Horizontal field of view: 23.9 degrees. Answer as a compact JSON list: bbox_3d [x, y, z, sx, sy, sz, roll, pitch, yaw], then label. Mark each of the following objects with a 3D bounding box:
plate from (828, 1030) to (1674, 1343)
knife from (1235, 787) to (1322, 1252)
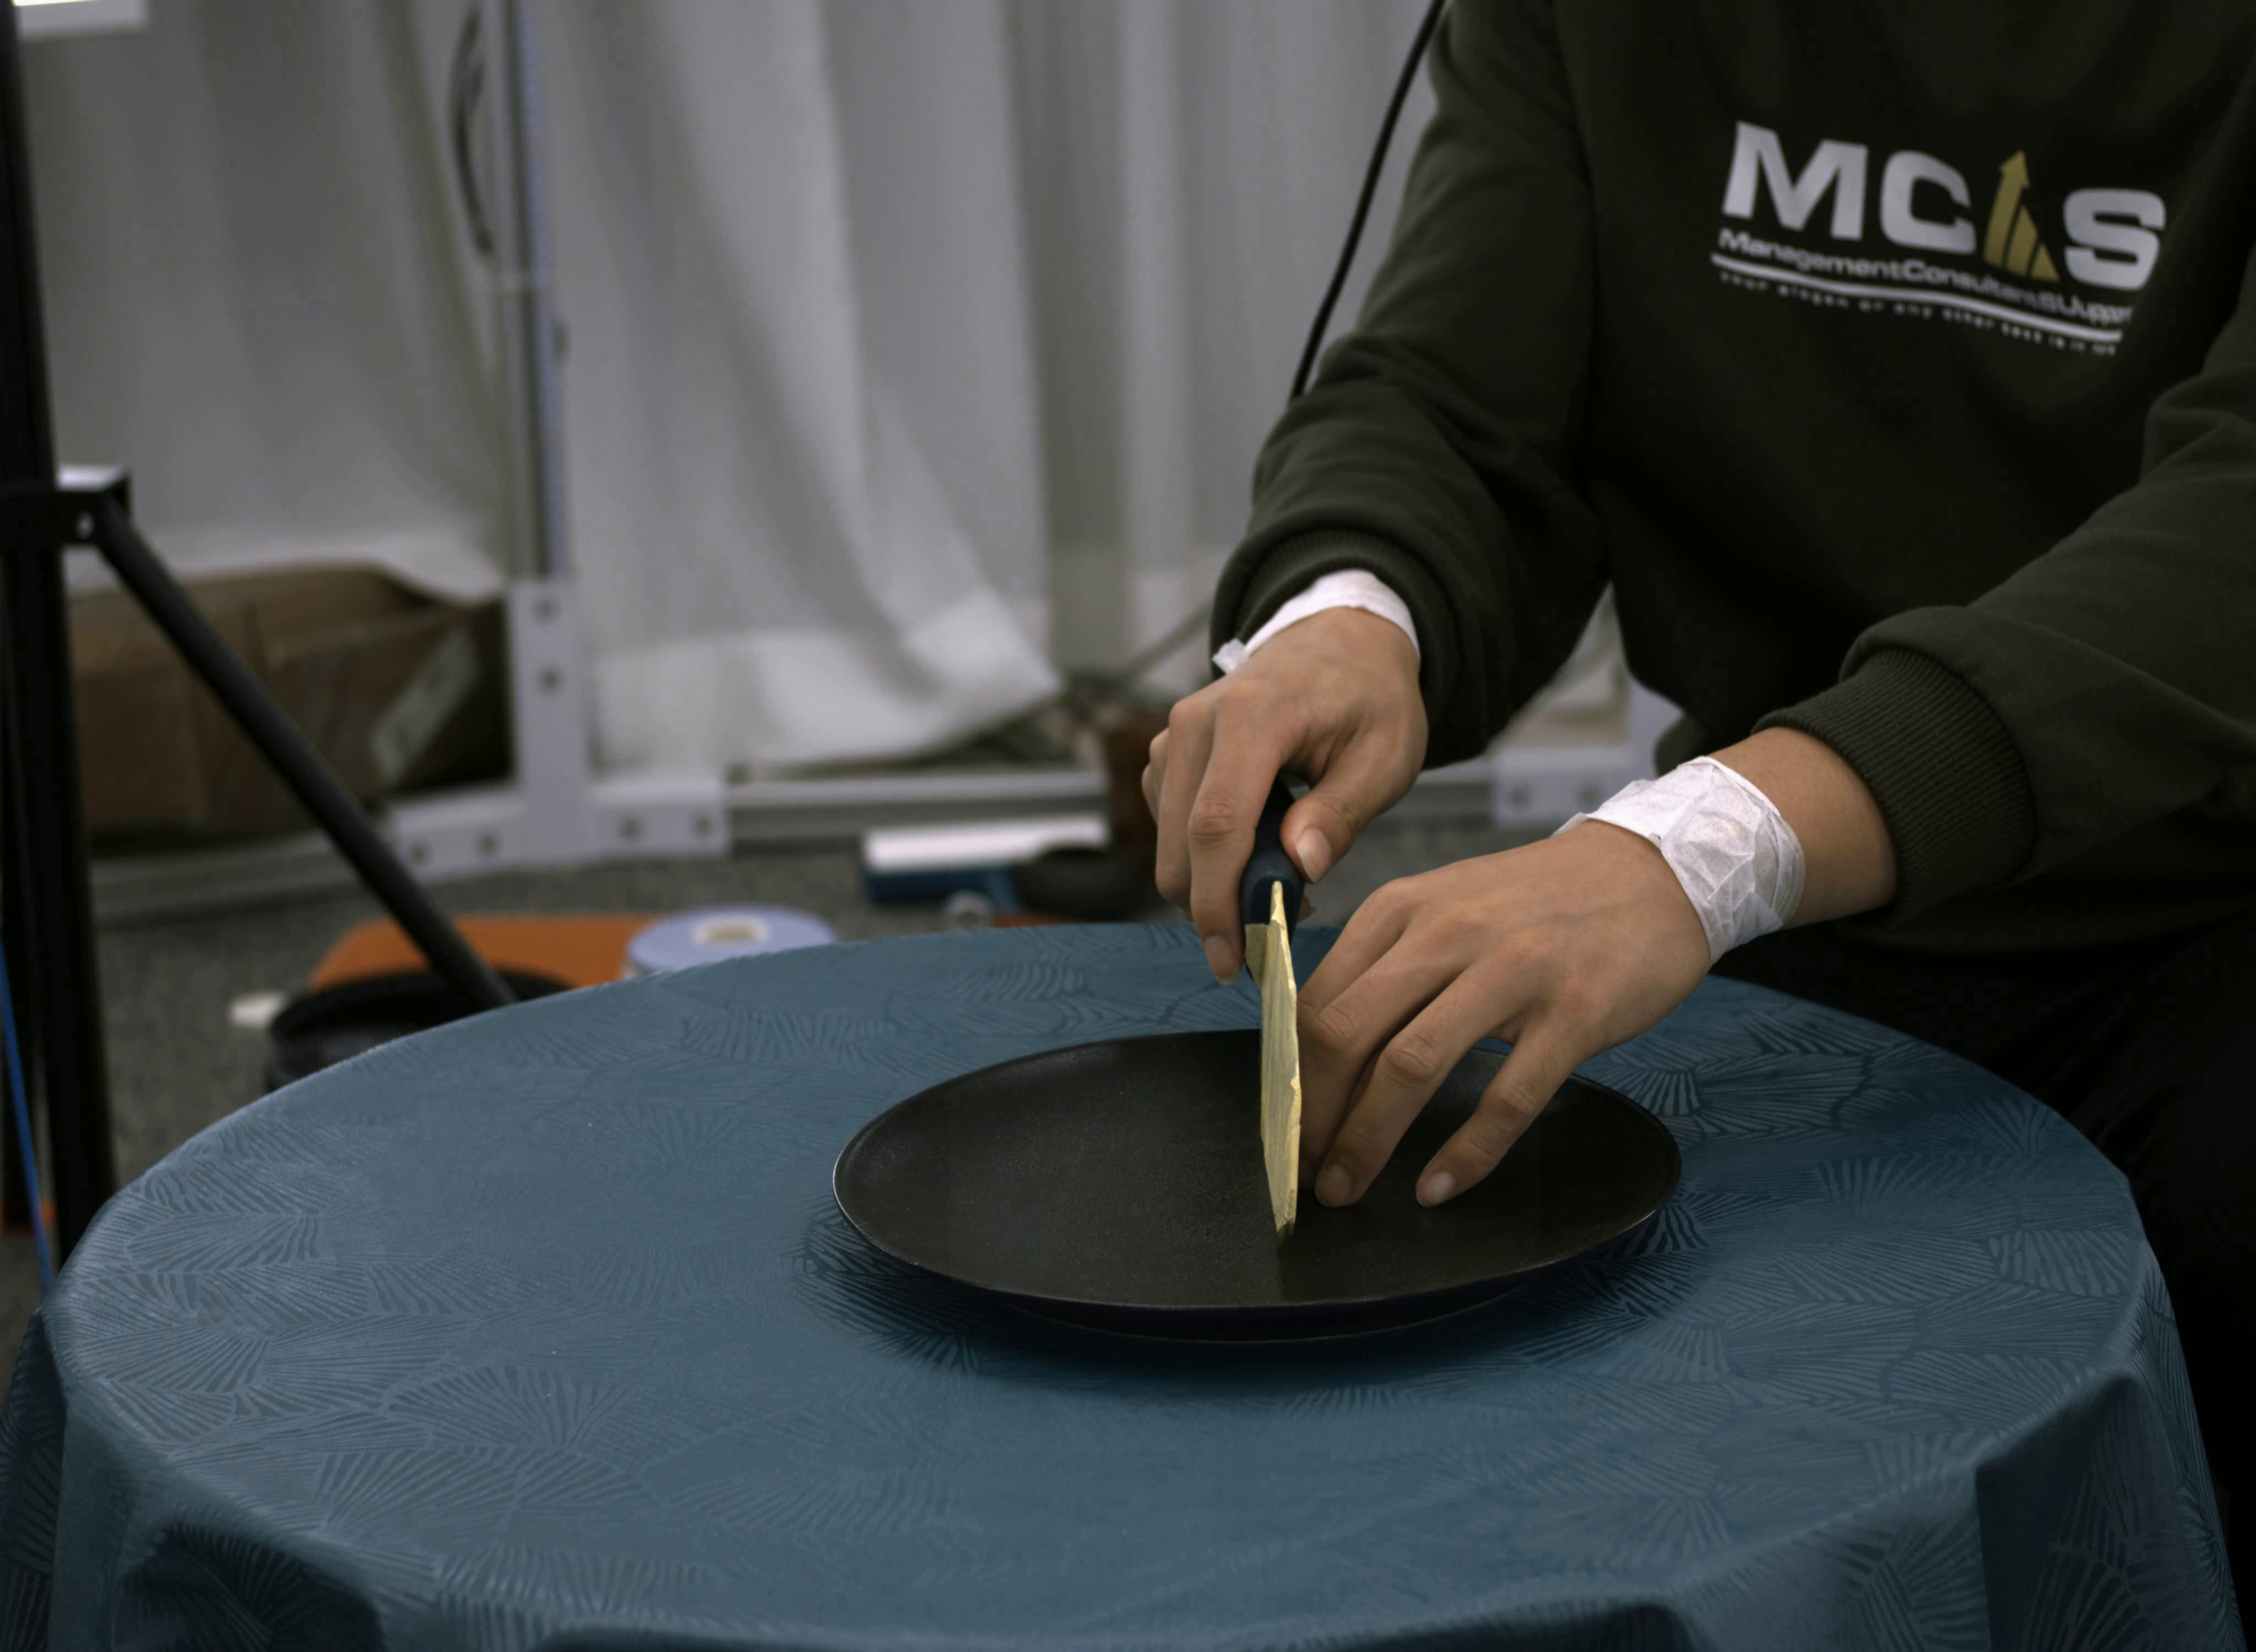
[{"bbox_3d":[0.035,0.106,1.522,0.243,0.023,0.245,-3,16,-1],"label":"plate"},{"bbox_3d":[0.044,0.052,1.574,0.027,0.081,0.290,6,20,-1],"label":"knife"}]
